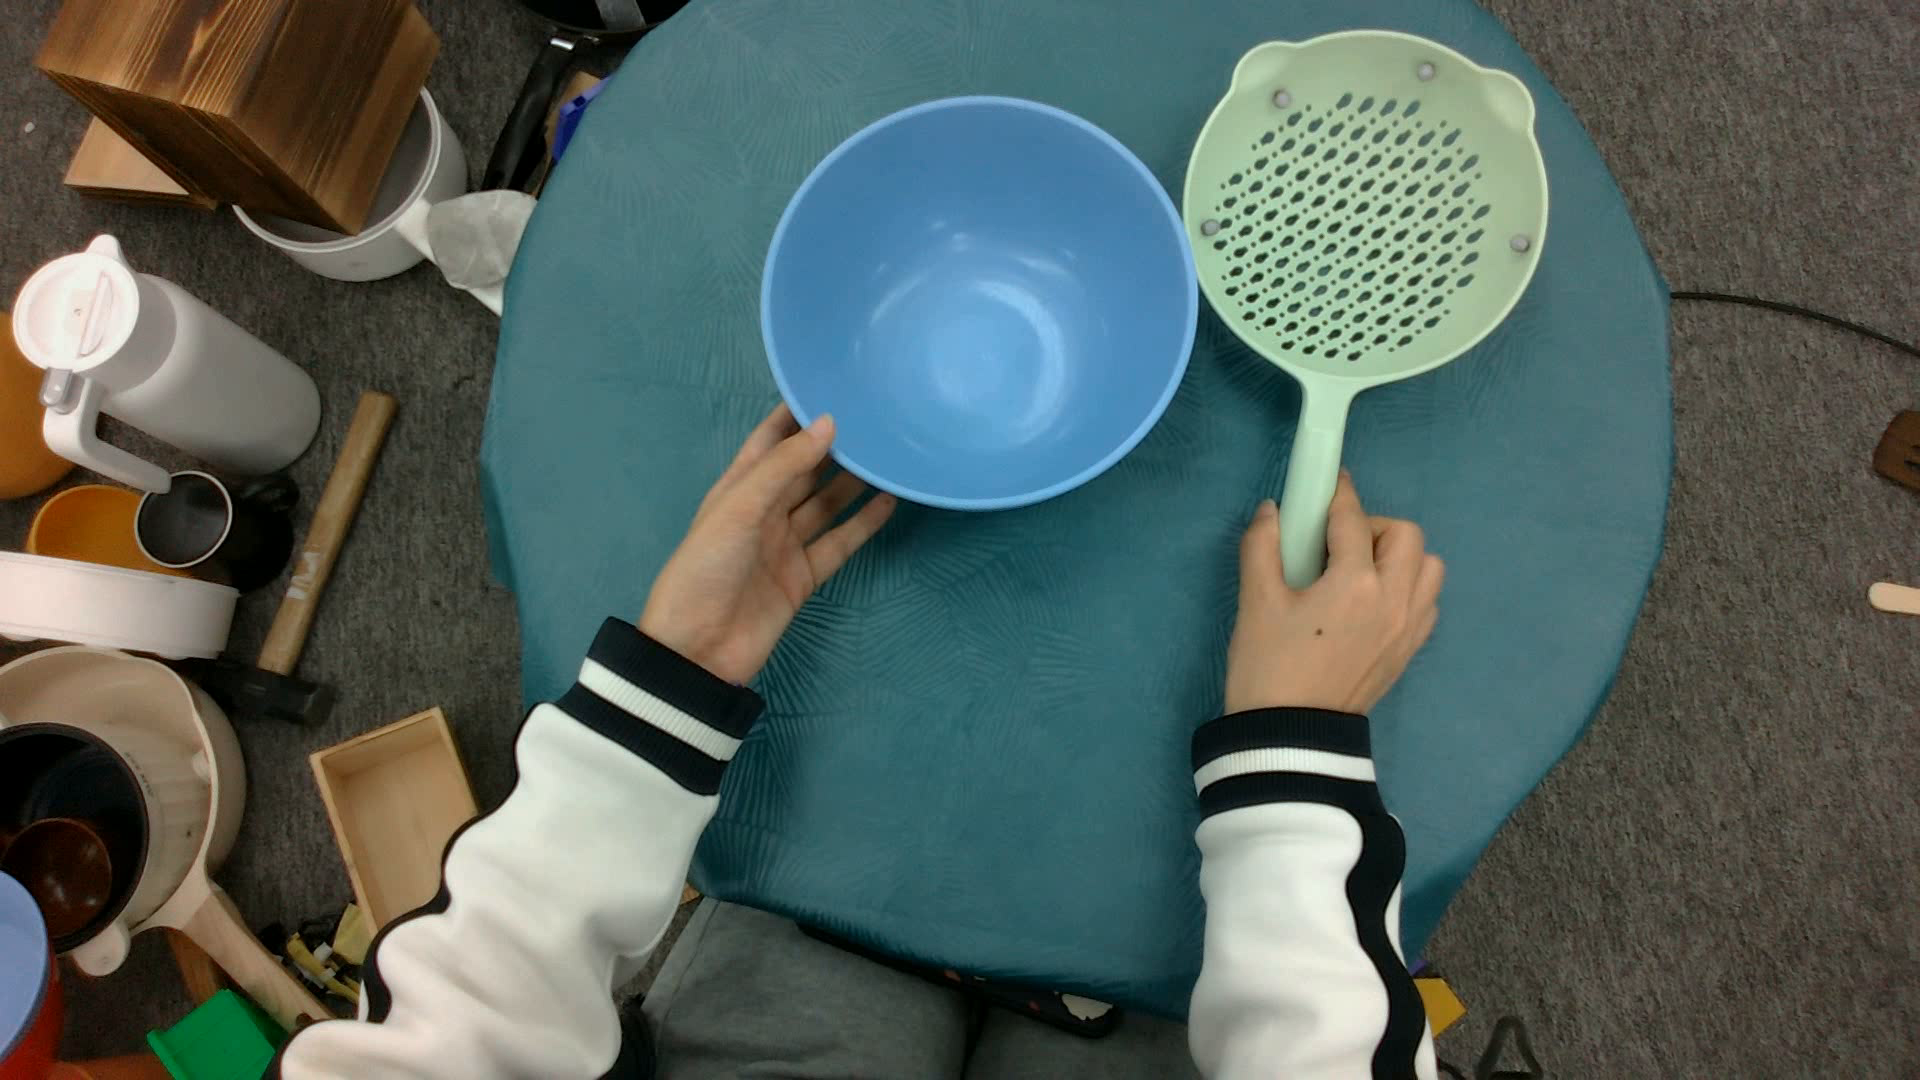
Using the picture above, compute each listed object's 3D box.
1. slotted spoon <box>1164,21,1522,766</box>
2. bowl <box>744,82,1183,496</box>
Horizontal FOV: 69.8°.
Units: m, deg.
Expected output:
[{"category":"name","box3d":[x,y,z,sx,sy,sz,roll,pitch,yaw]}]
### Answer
[{"category":"slotted spoon","box3d":[0.166,-0.070,0.667,0.169,0.075,0.359,10,79,6]},{"category":"bowl","box3d":[0.002,-0.106,0.660,0.196,0.095,0.197,0,77,1]}]
